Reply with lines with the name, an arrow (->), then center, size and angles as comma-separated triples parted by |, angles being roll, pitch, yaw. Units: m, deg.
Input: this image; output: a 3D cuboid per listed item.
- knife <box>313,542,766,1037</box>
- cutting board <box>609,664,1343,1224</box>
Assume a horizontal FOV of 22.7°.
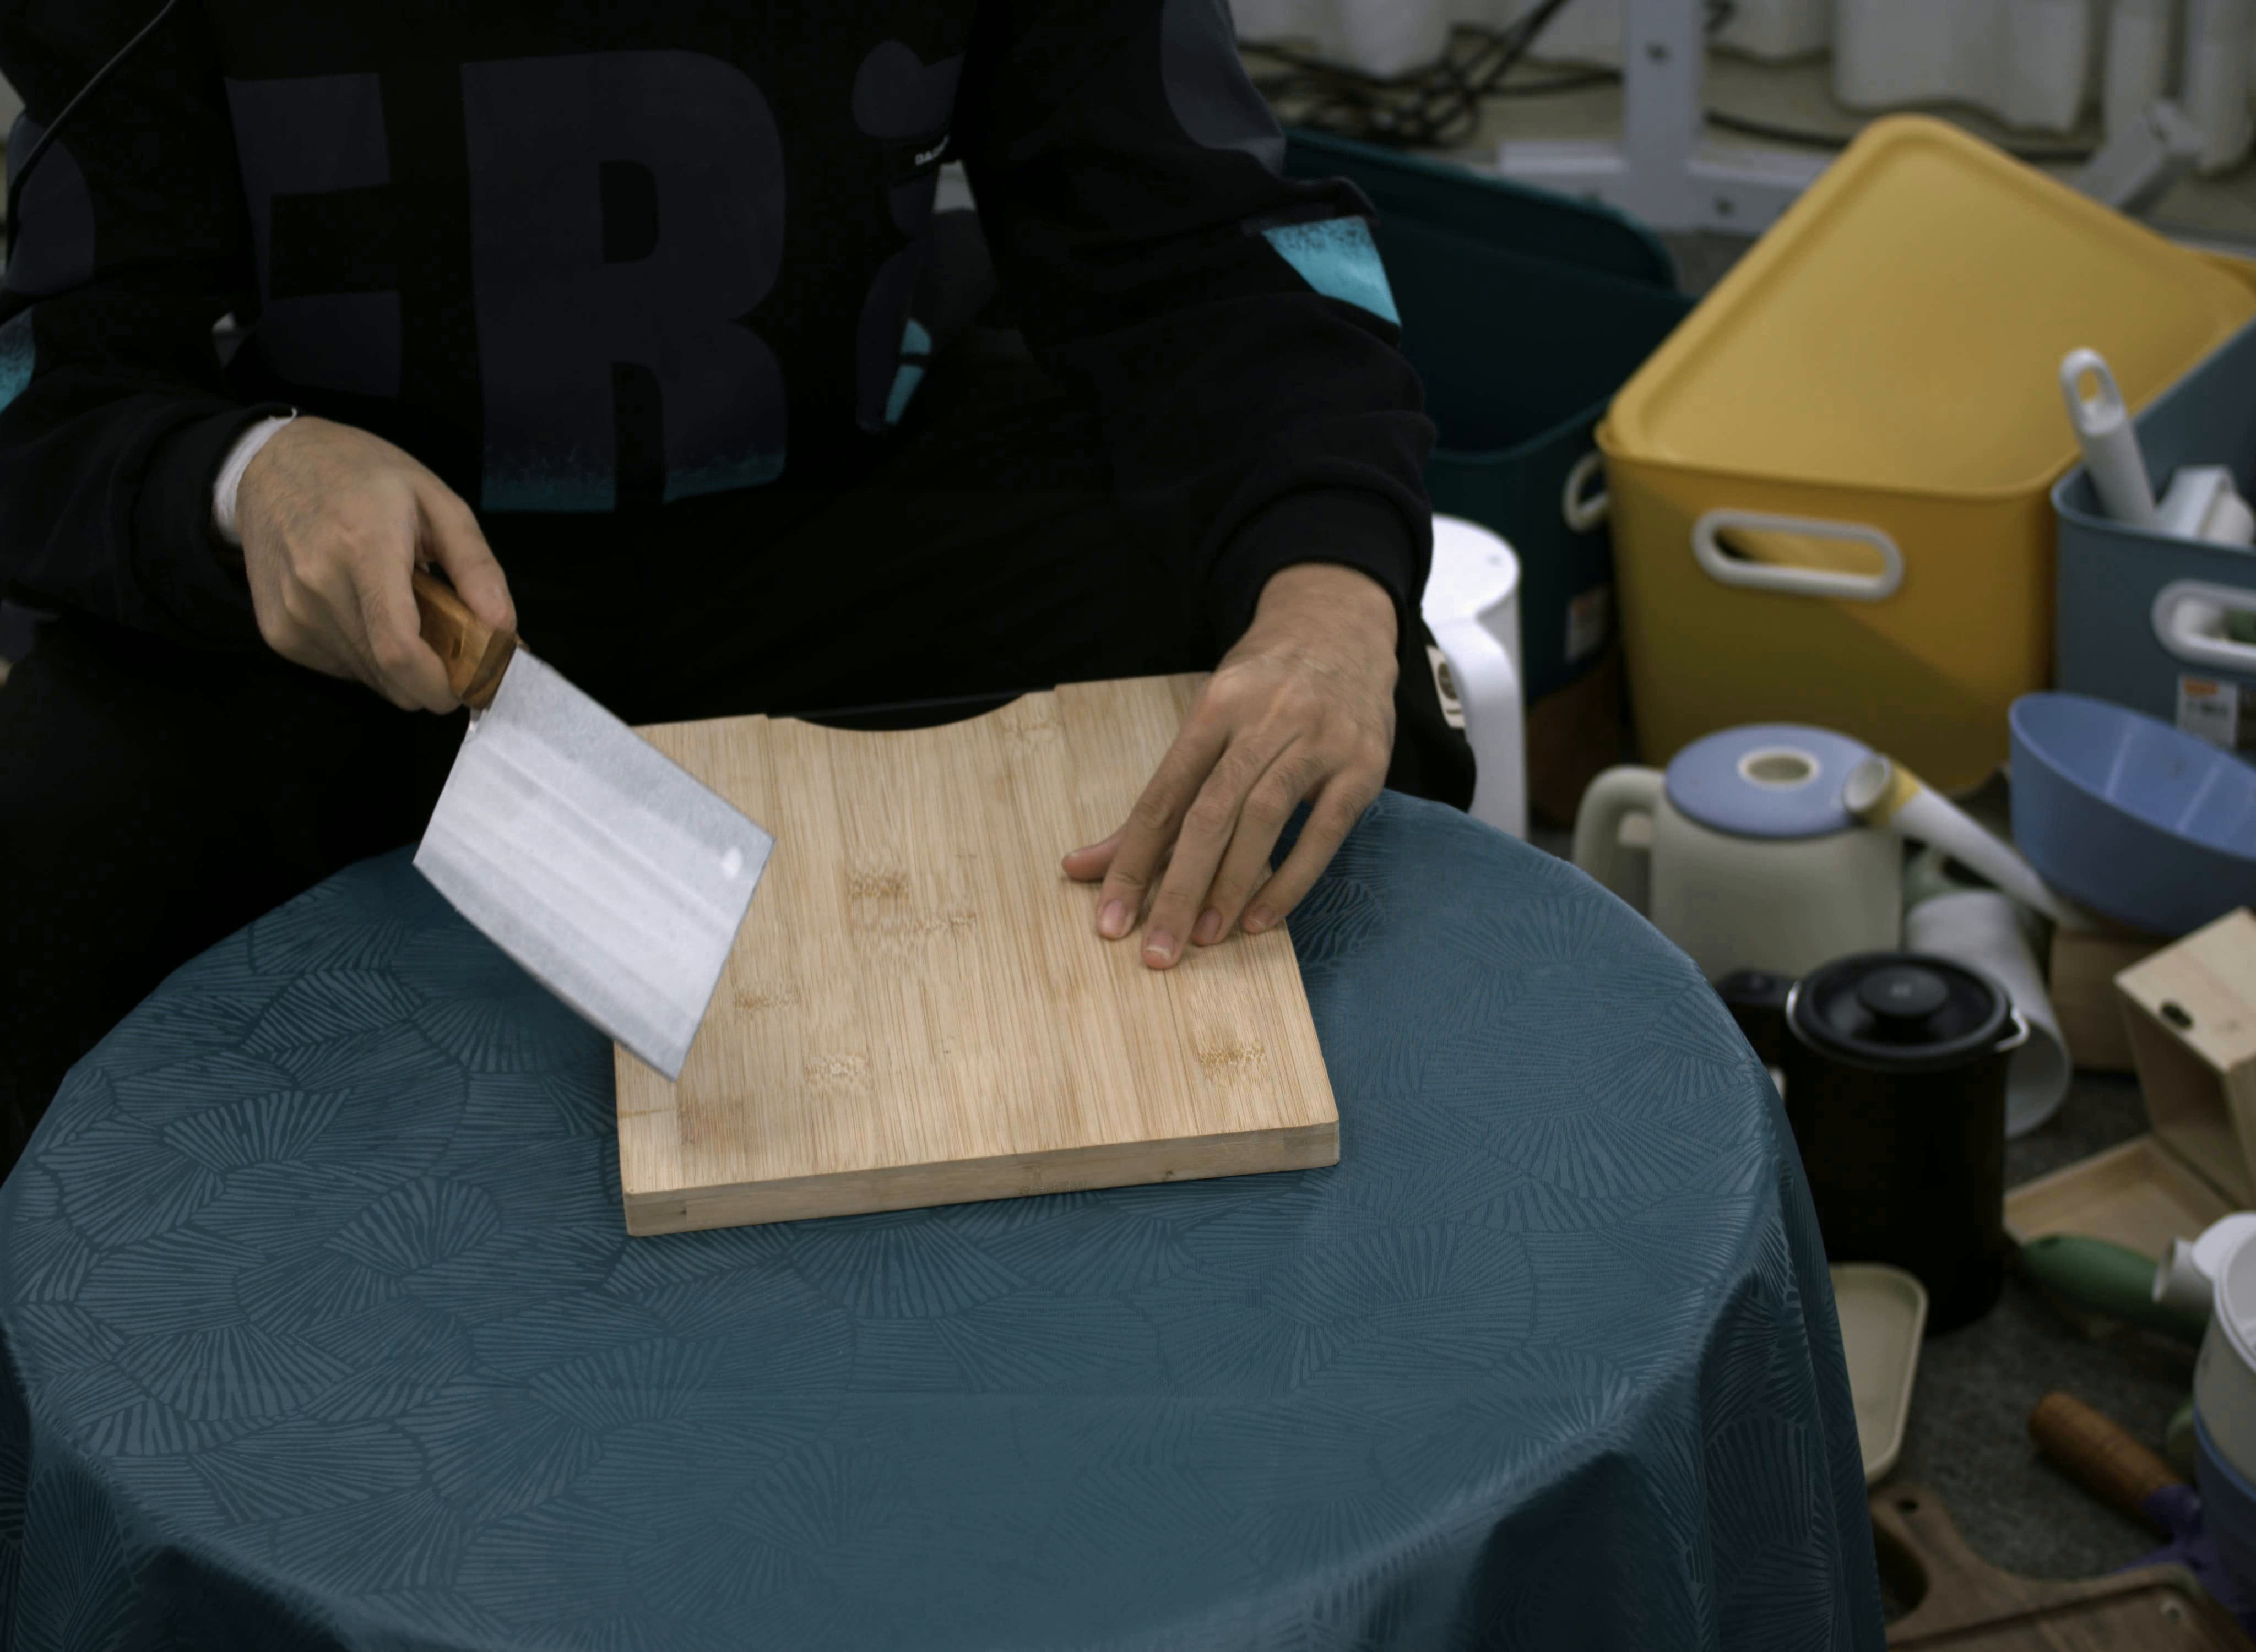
knife -> -0.214, -0.012, 1.937 | 0.021, 0.092, 0.307 | 16, 12, -40
cutting board -> -0.065, 0.037, 2.013 | 0.250, 0.023, 0.353 | -6, 28, -5
